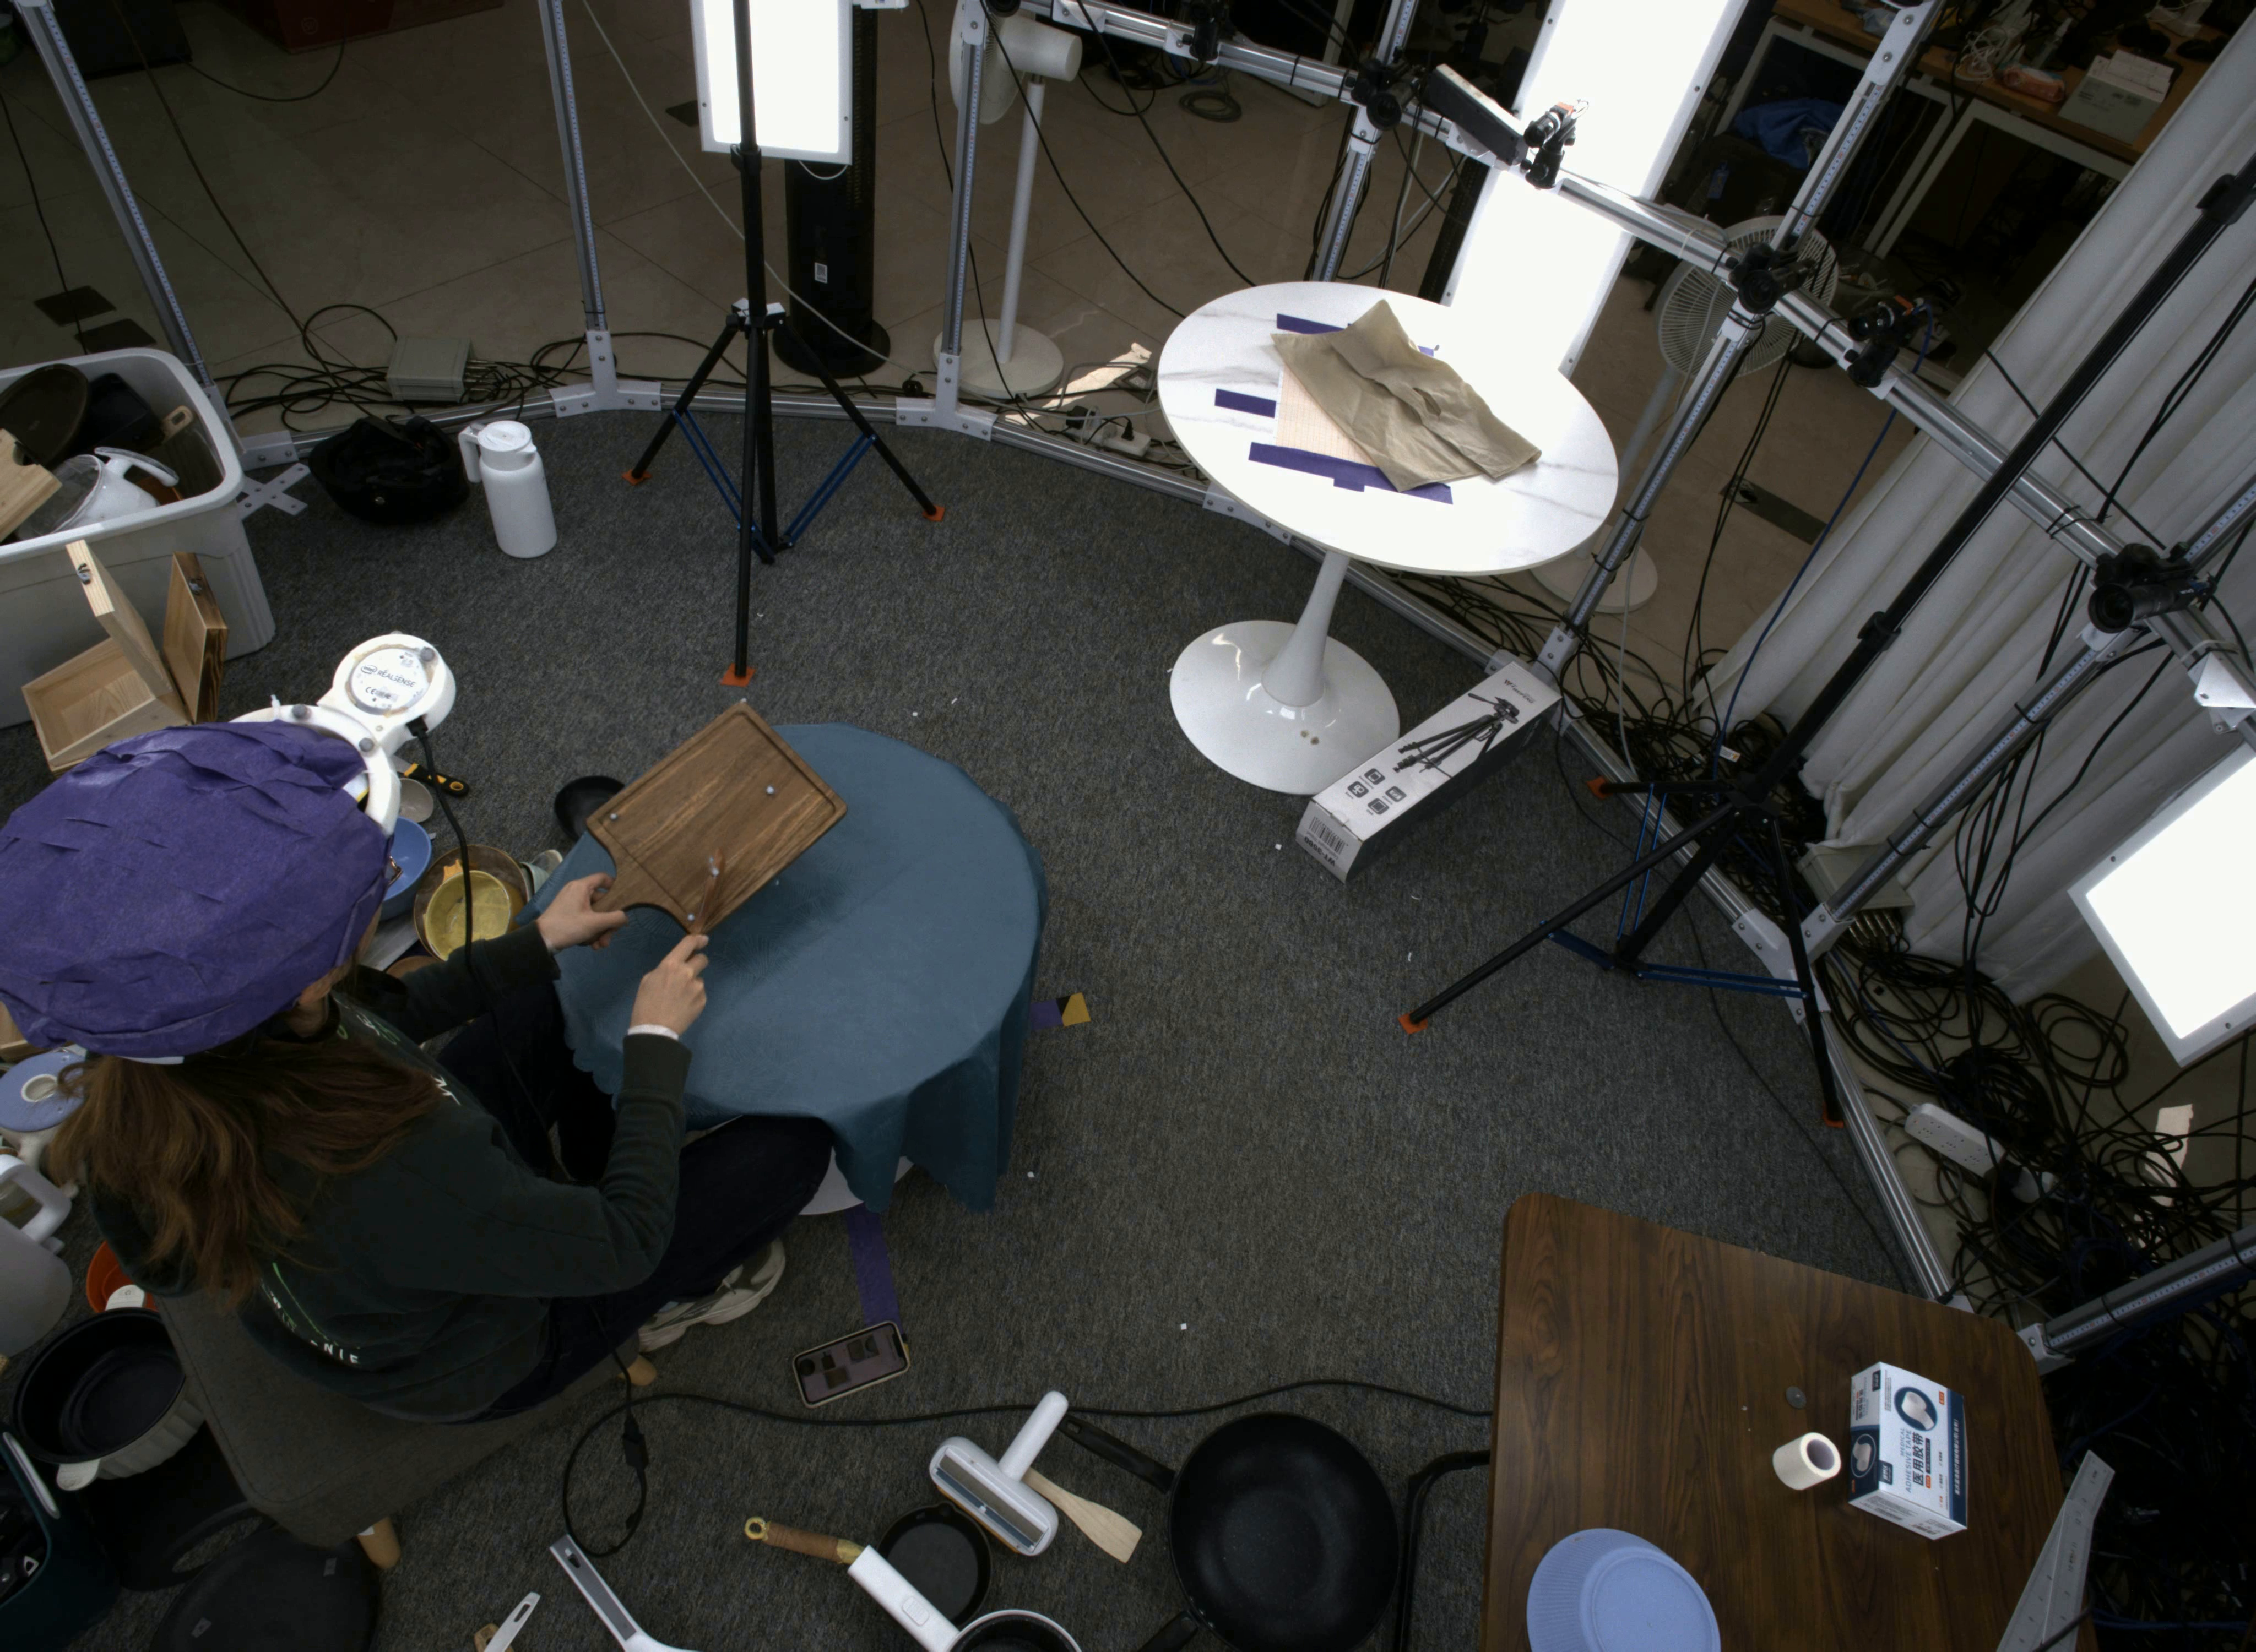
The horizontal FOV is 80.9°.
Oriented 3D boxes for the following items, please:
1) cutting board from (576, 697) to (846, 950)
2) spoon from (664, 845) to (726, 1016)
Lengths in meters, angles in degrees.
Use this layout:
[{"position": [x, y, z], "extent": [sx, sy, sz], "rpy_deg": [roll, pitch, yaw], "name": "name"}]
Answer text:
[{"position": [-0.526, 0.018, 1.540], "extent": [0.202, 0.023, 0.352], "rpy_deg": [47, 62, -4], "name": "cutting board"}, {"position": [-0.487, 0.114, 1.460], "extent": [0.017, 0.075, 0.213], "rpy_deg": [20, 53, -17], "name": "spoon"}]
